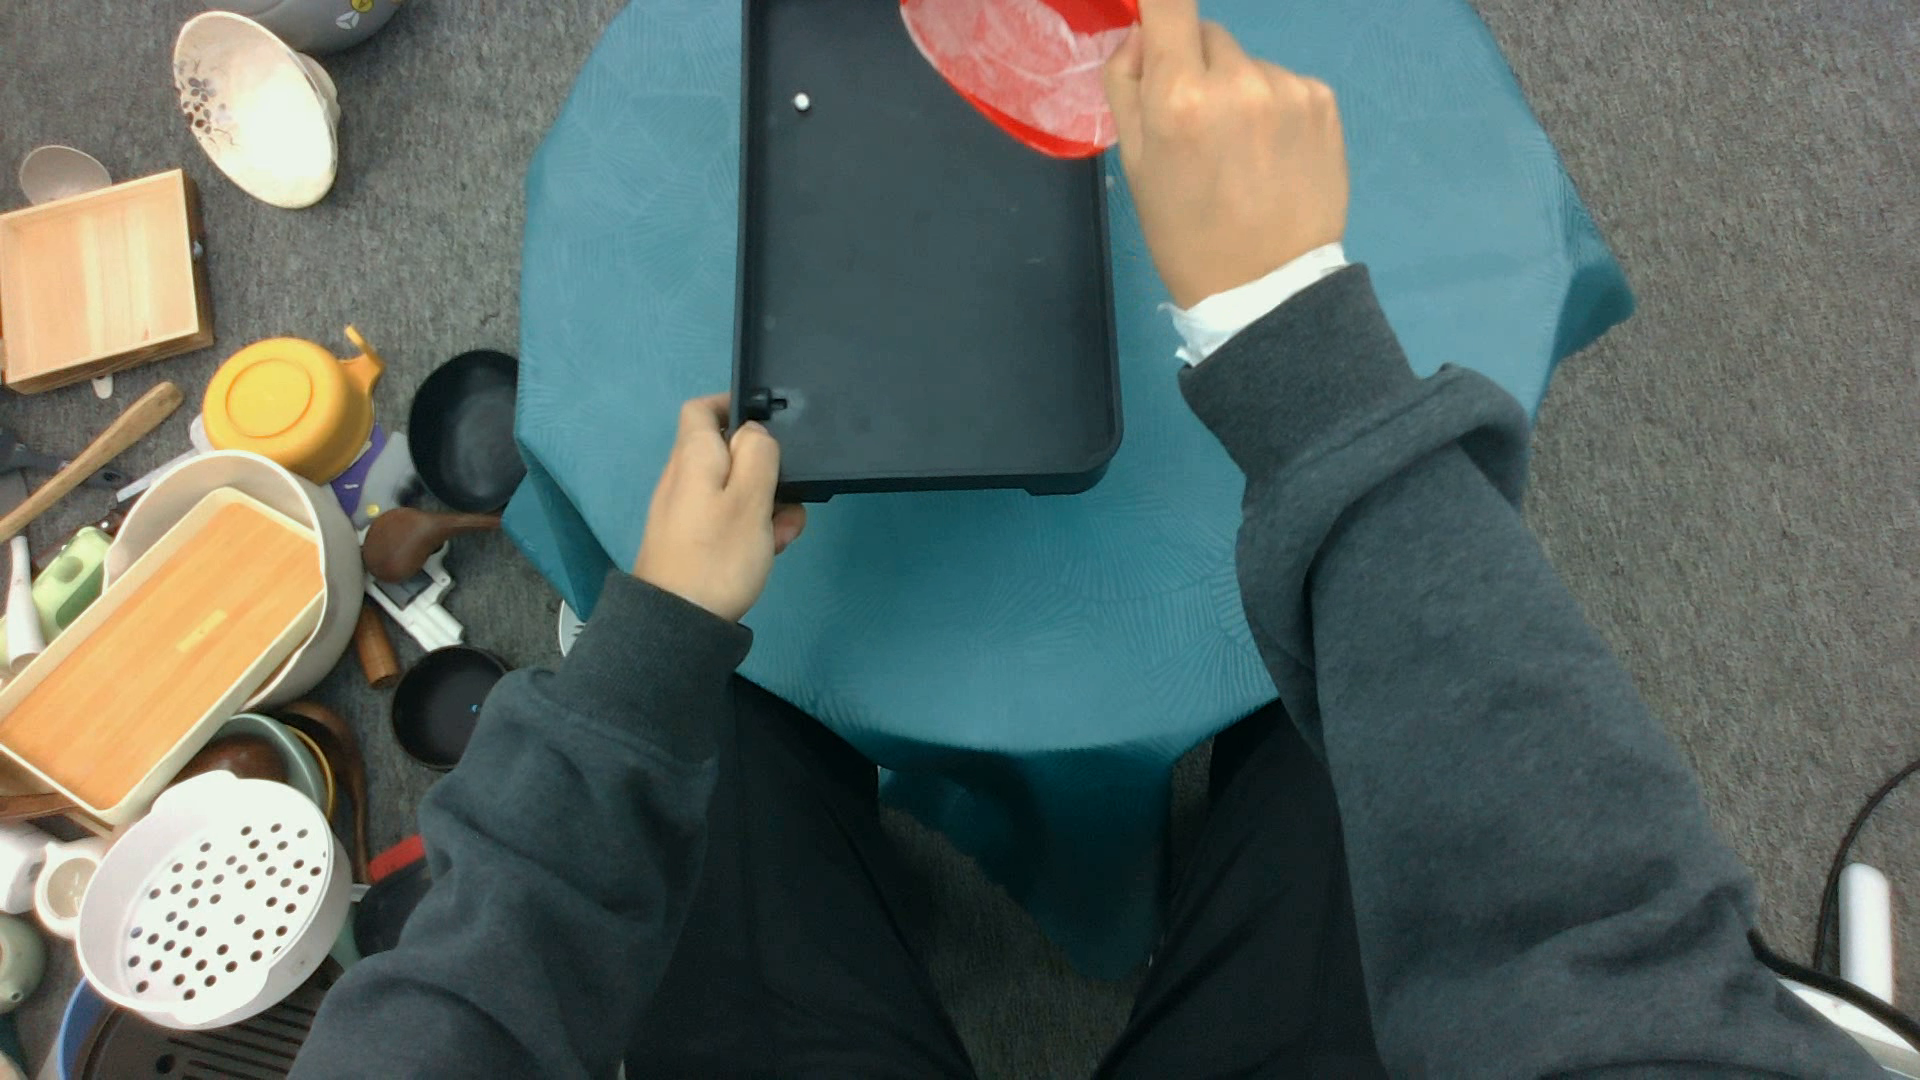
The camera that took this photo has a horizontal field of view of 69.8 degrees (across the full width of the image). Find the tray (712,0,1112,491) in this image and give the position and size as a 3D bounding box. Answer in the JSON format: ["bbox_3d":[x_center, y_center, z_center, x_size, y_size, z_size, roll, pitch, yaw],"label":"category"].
[{"bbox_3d":[-0.028,-0.177,0.693,0.184,0.037,0.319,-2,69,-2],"label":"tray"}]

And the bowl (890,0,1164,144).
[{"bbox_3d":[0.033,-0.219,0.542,0.119,0.118,0.051,30,65,11],"label":"bowl"}]
